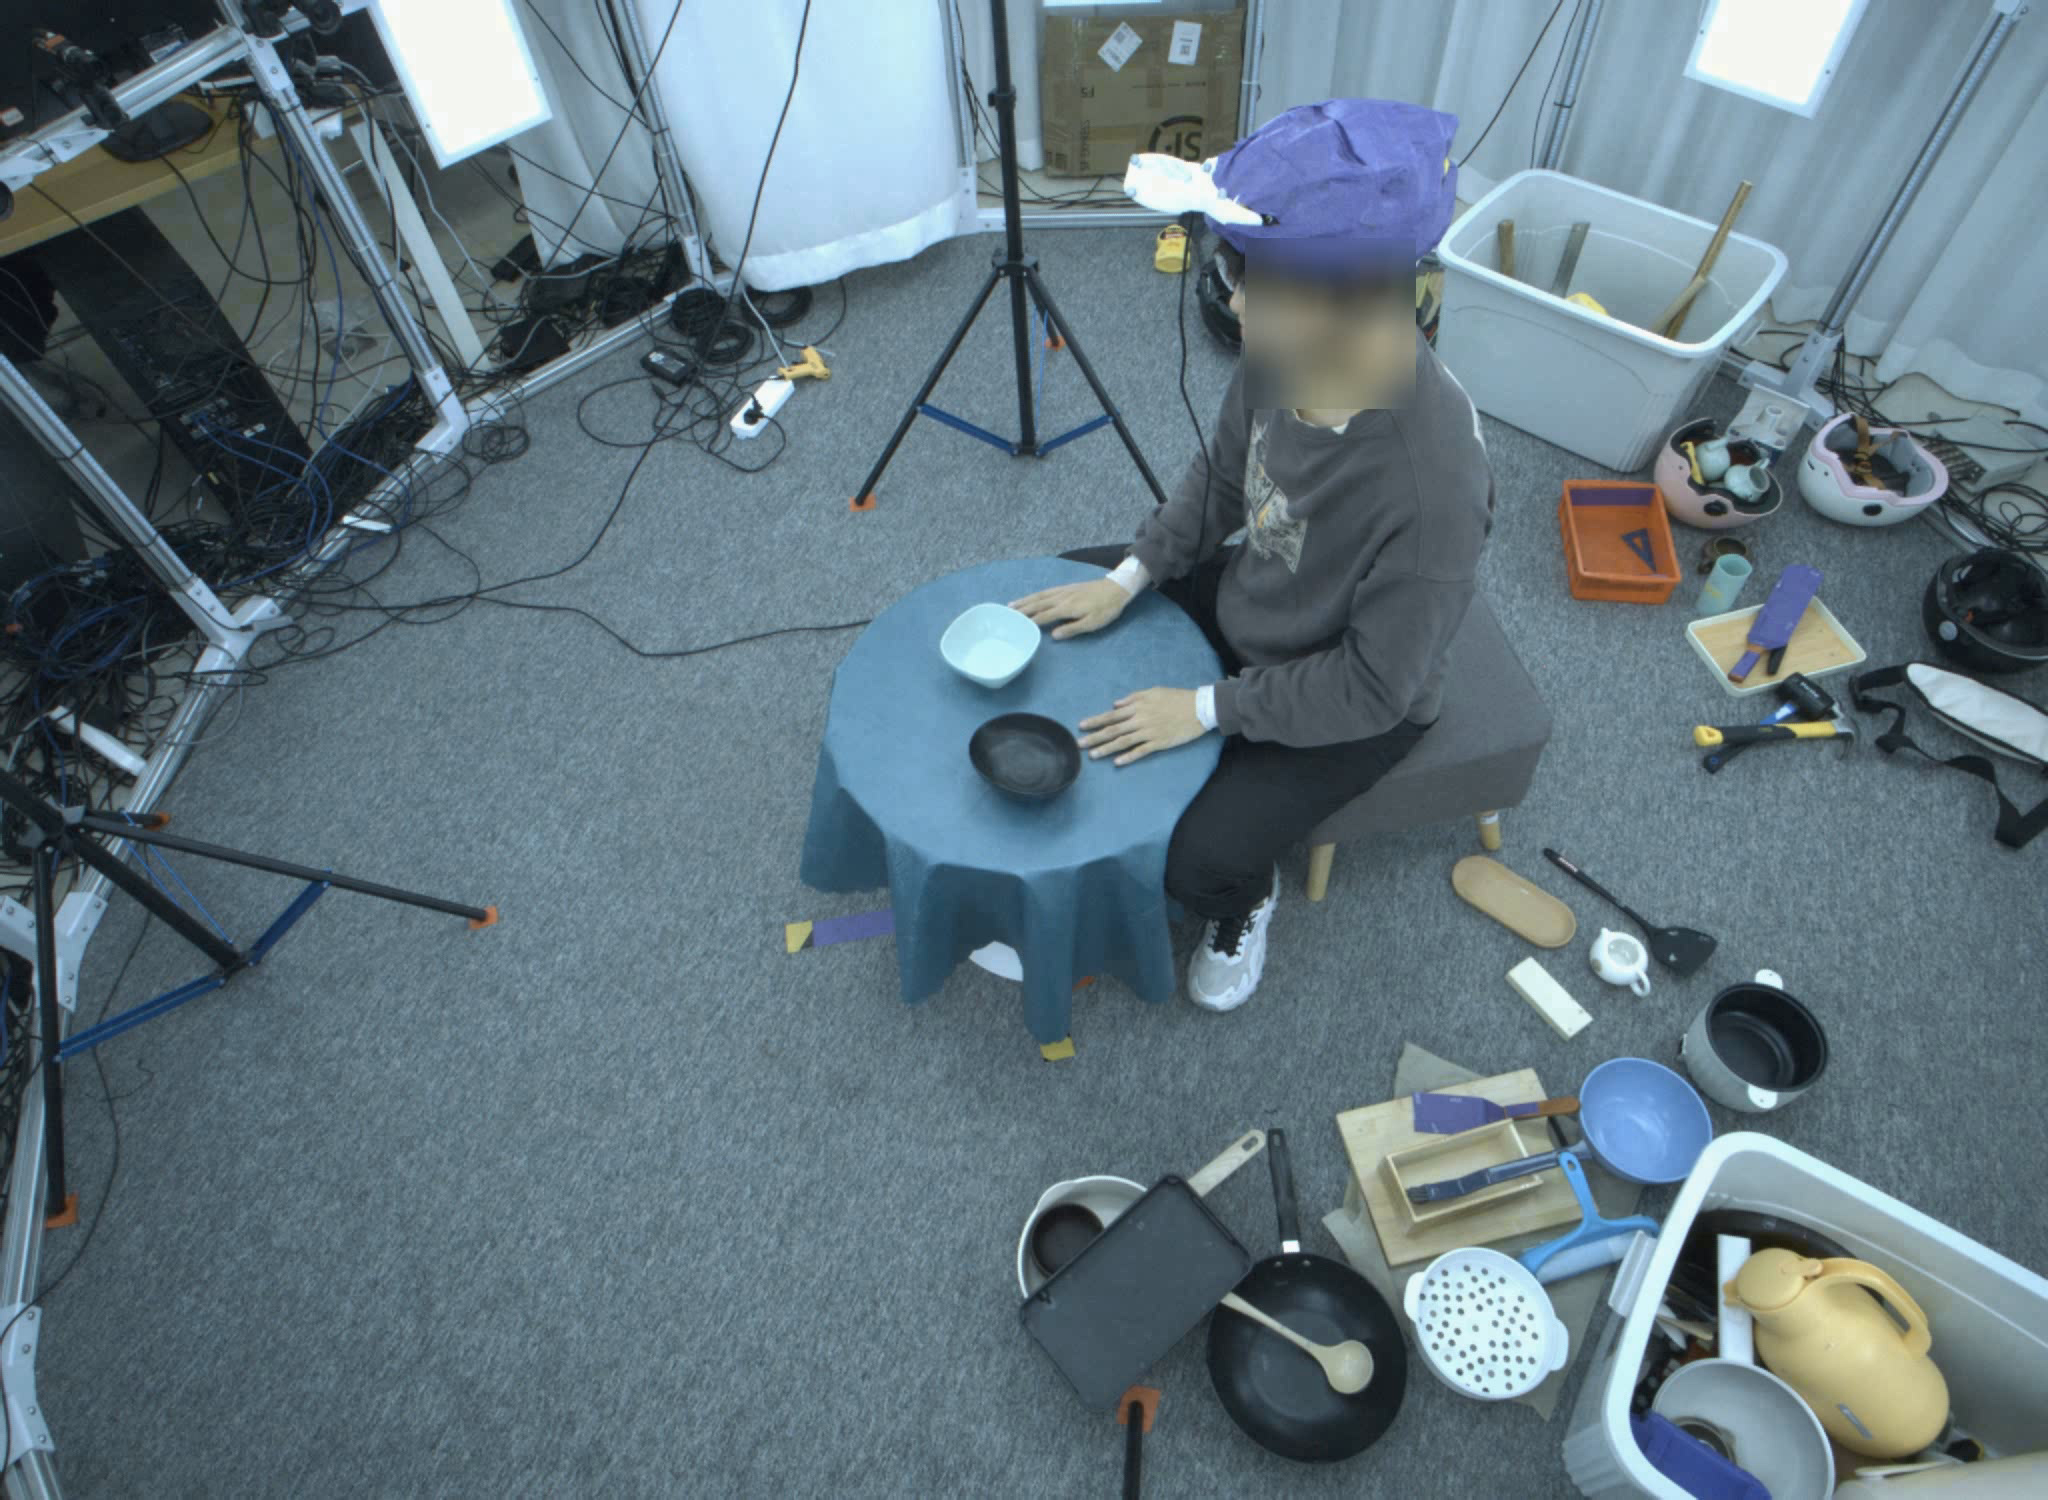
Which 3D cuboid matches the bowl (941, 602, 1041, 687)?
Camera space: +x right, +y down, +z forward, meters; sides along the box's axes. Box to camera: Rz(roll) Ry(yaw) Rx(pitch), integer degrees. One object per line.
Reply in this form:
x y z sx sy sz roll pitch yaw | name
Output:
-0.048 -0.150 1.858 0.151 0.059 0.150 -2 56 4 | bowl

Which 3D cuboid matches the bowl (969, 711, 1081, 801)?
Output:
0.001 0.019 1.732 0.167 0.067 0.138 26 59 21 | bowl
